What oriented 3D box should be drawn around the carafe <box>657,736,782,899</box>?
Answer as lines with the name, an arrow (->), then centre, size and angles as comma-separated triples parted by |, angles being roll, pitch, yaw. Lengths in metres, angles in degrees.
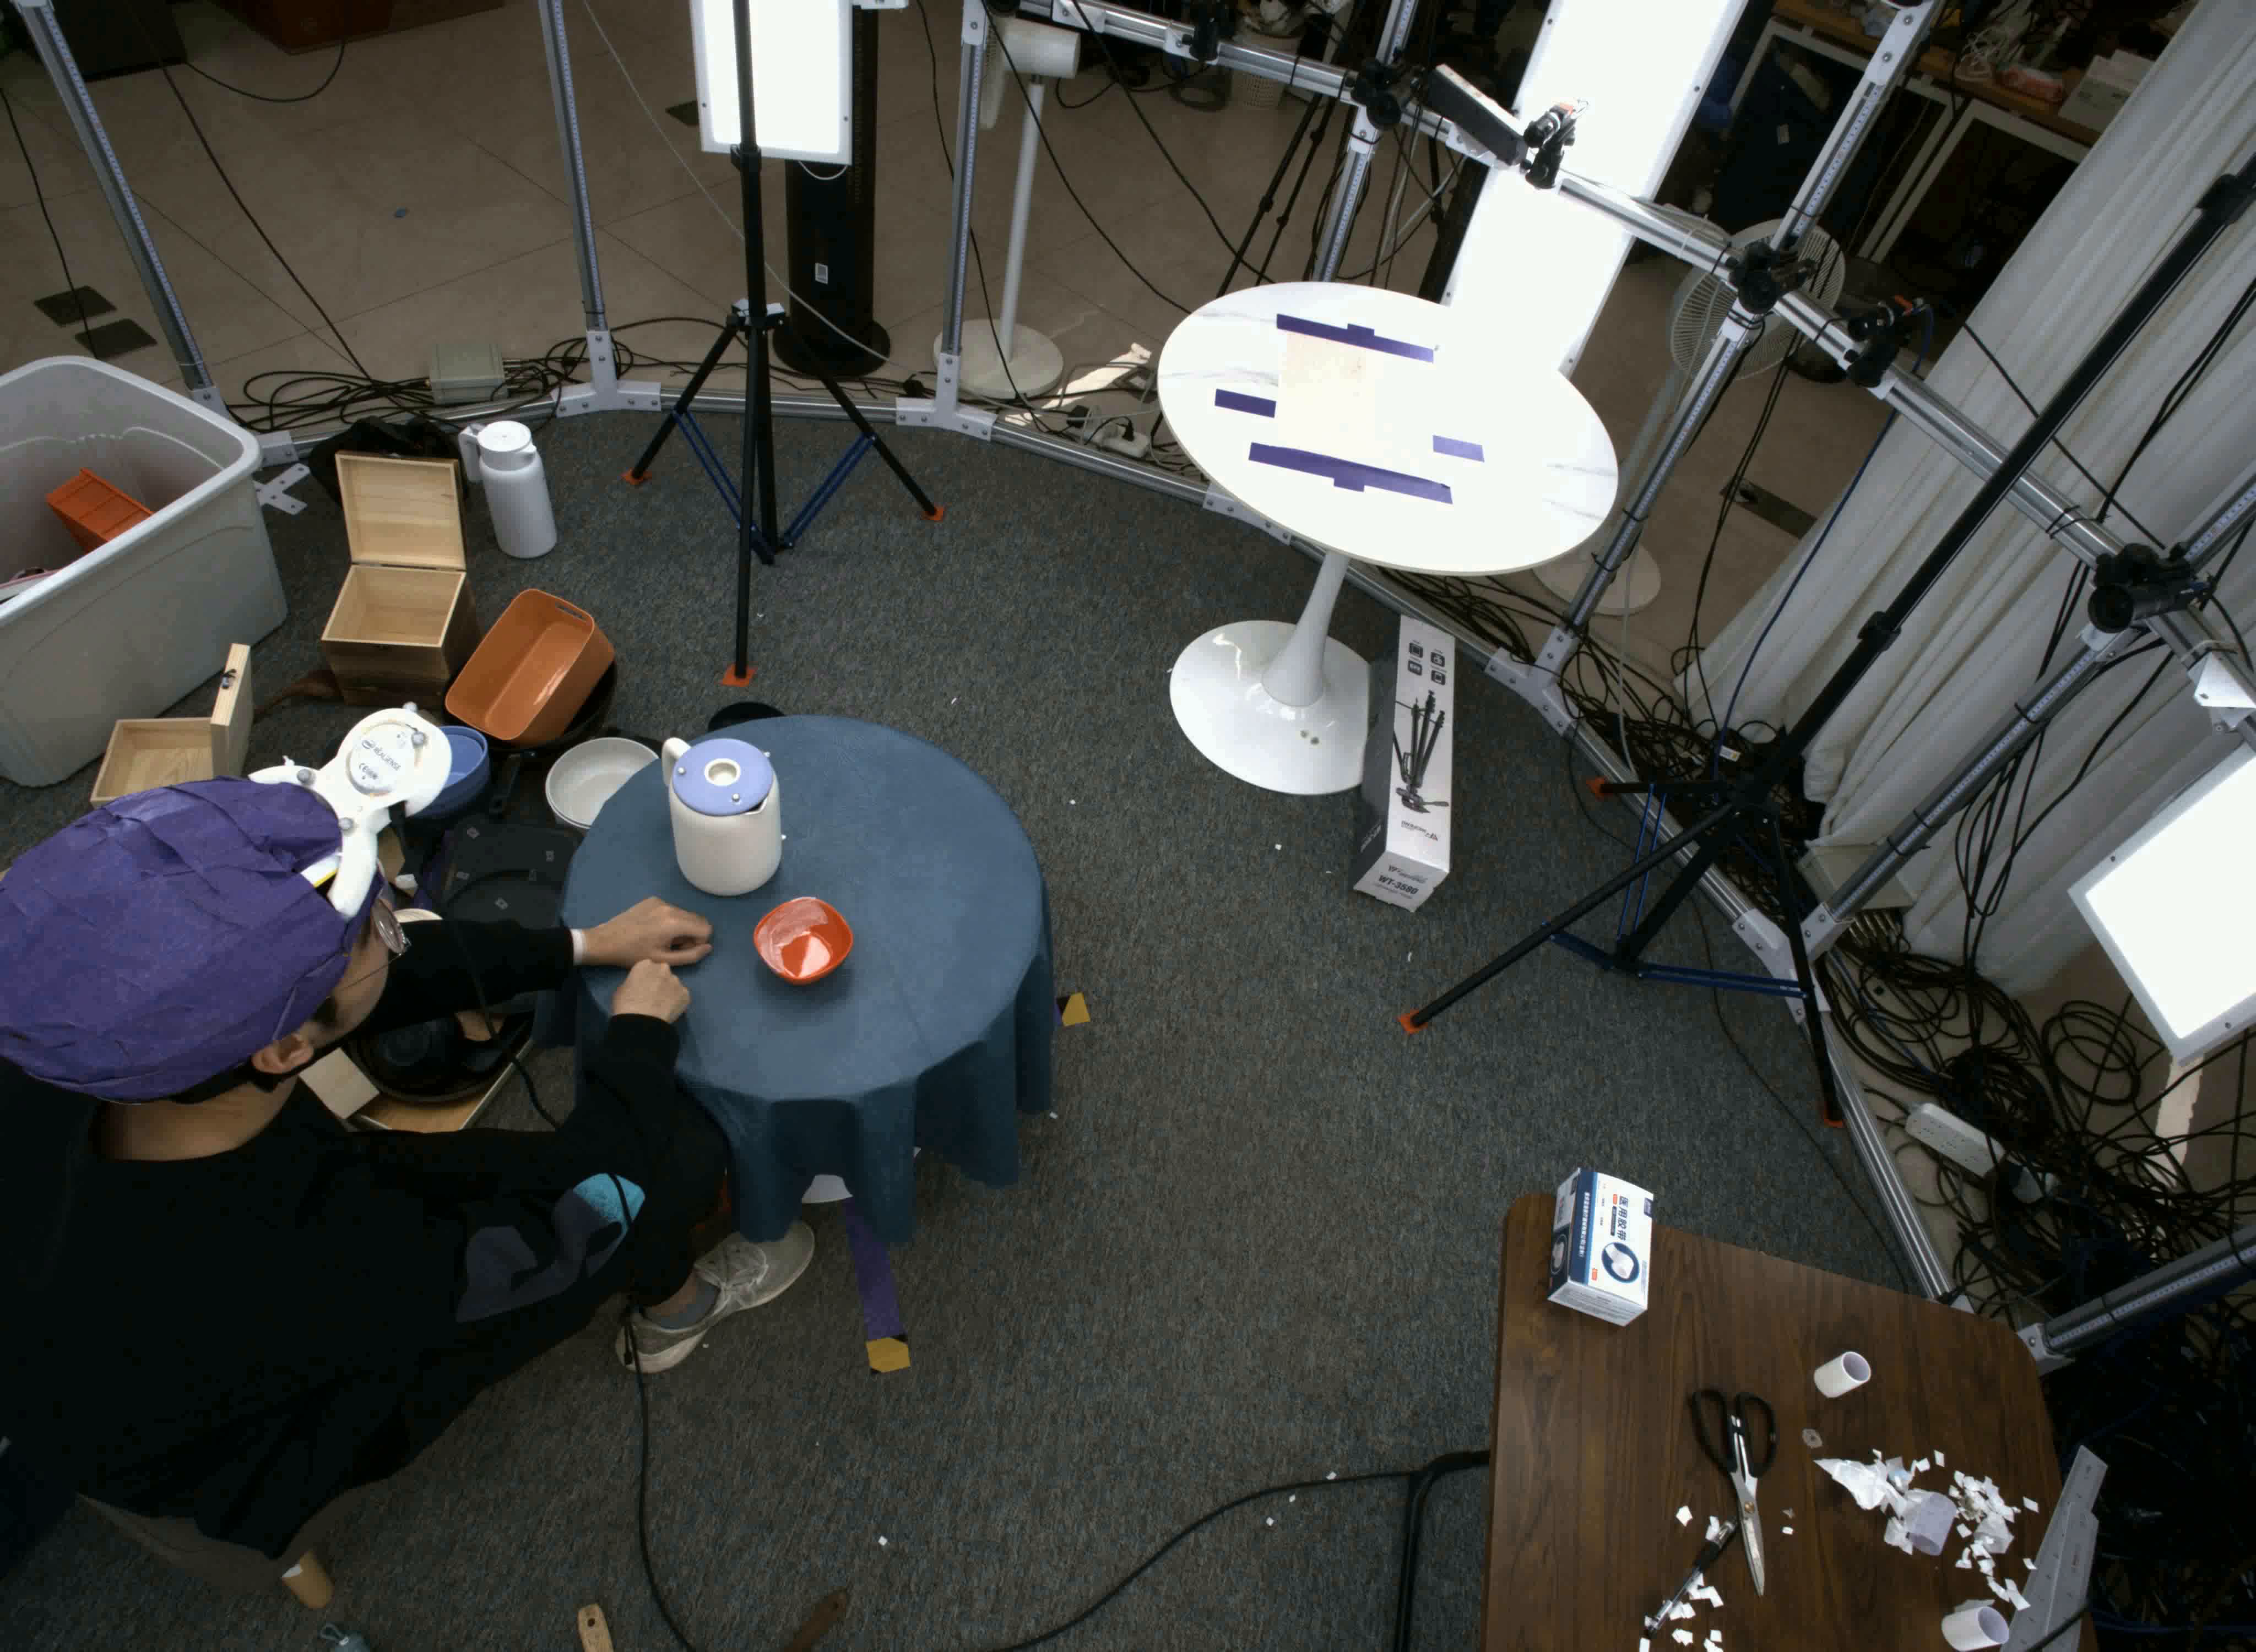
carafe -> -0.520, -0.025, 1.613 | 0.187, 0.187, 0.132 | 35, 52, 17

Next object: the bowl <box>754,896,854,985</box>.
bowl -> -0.398, 0.147, 1.592 | 0.119, 0.052, 0.117 | 10, 51, -11
